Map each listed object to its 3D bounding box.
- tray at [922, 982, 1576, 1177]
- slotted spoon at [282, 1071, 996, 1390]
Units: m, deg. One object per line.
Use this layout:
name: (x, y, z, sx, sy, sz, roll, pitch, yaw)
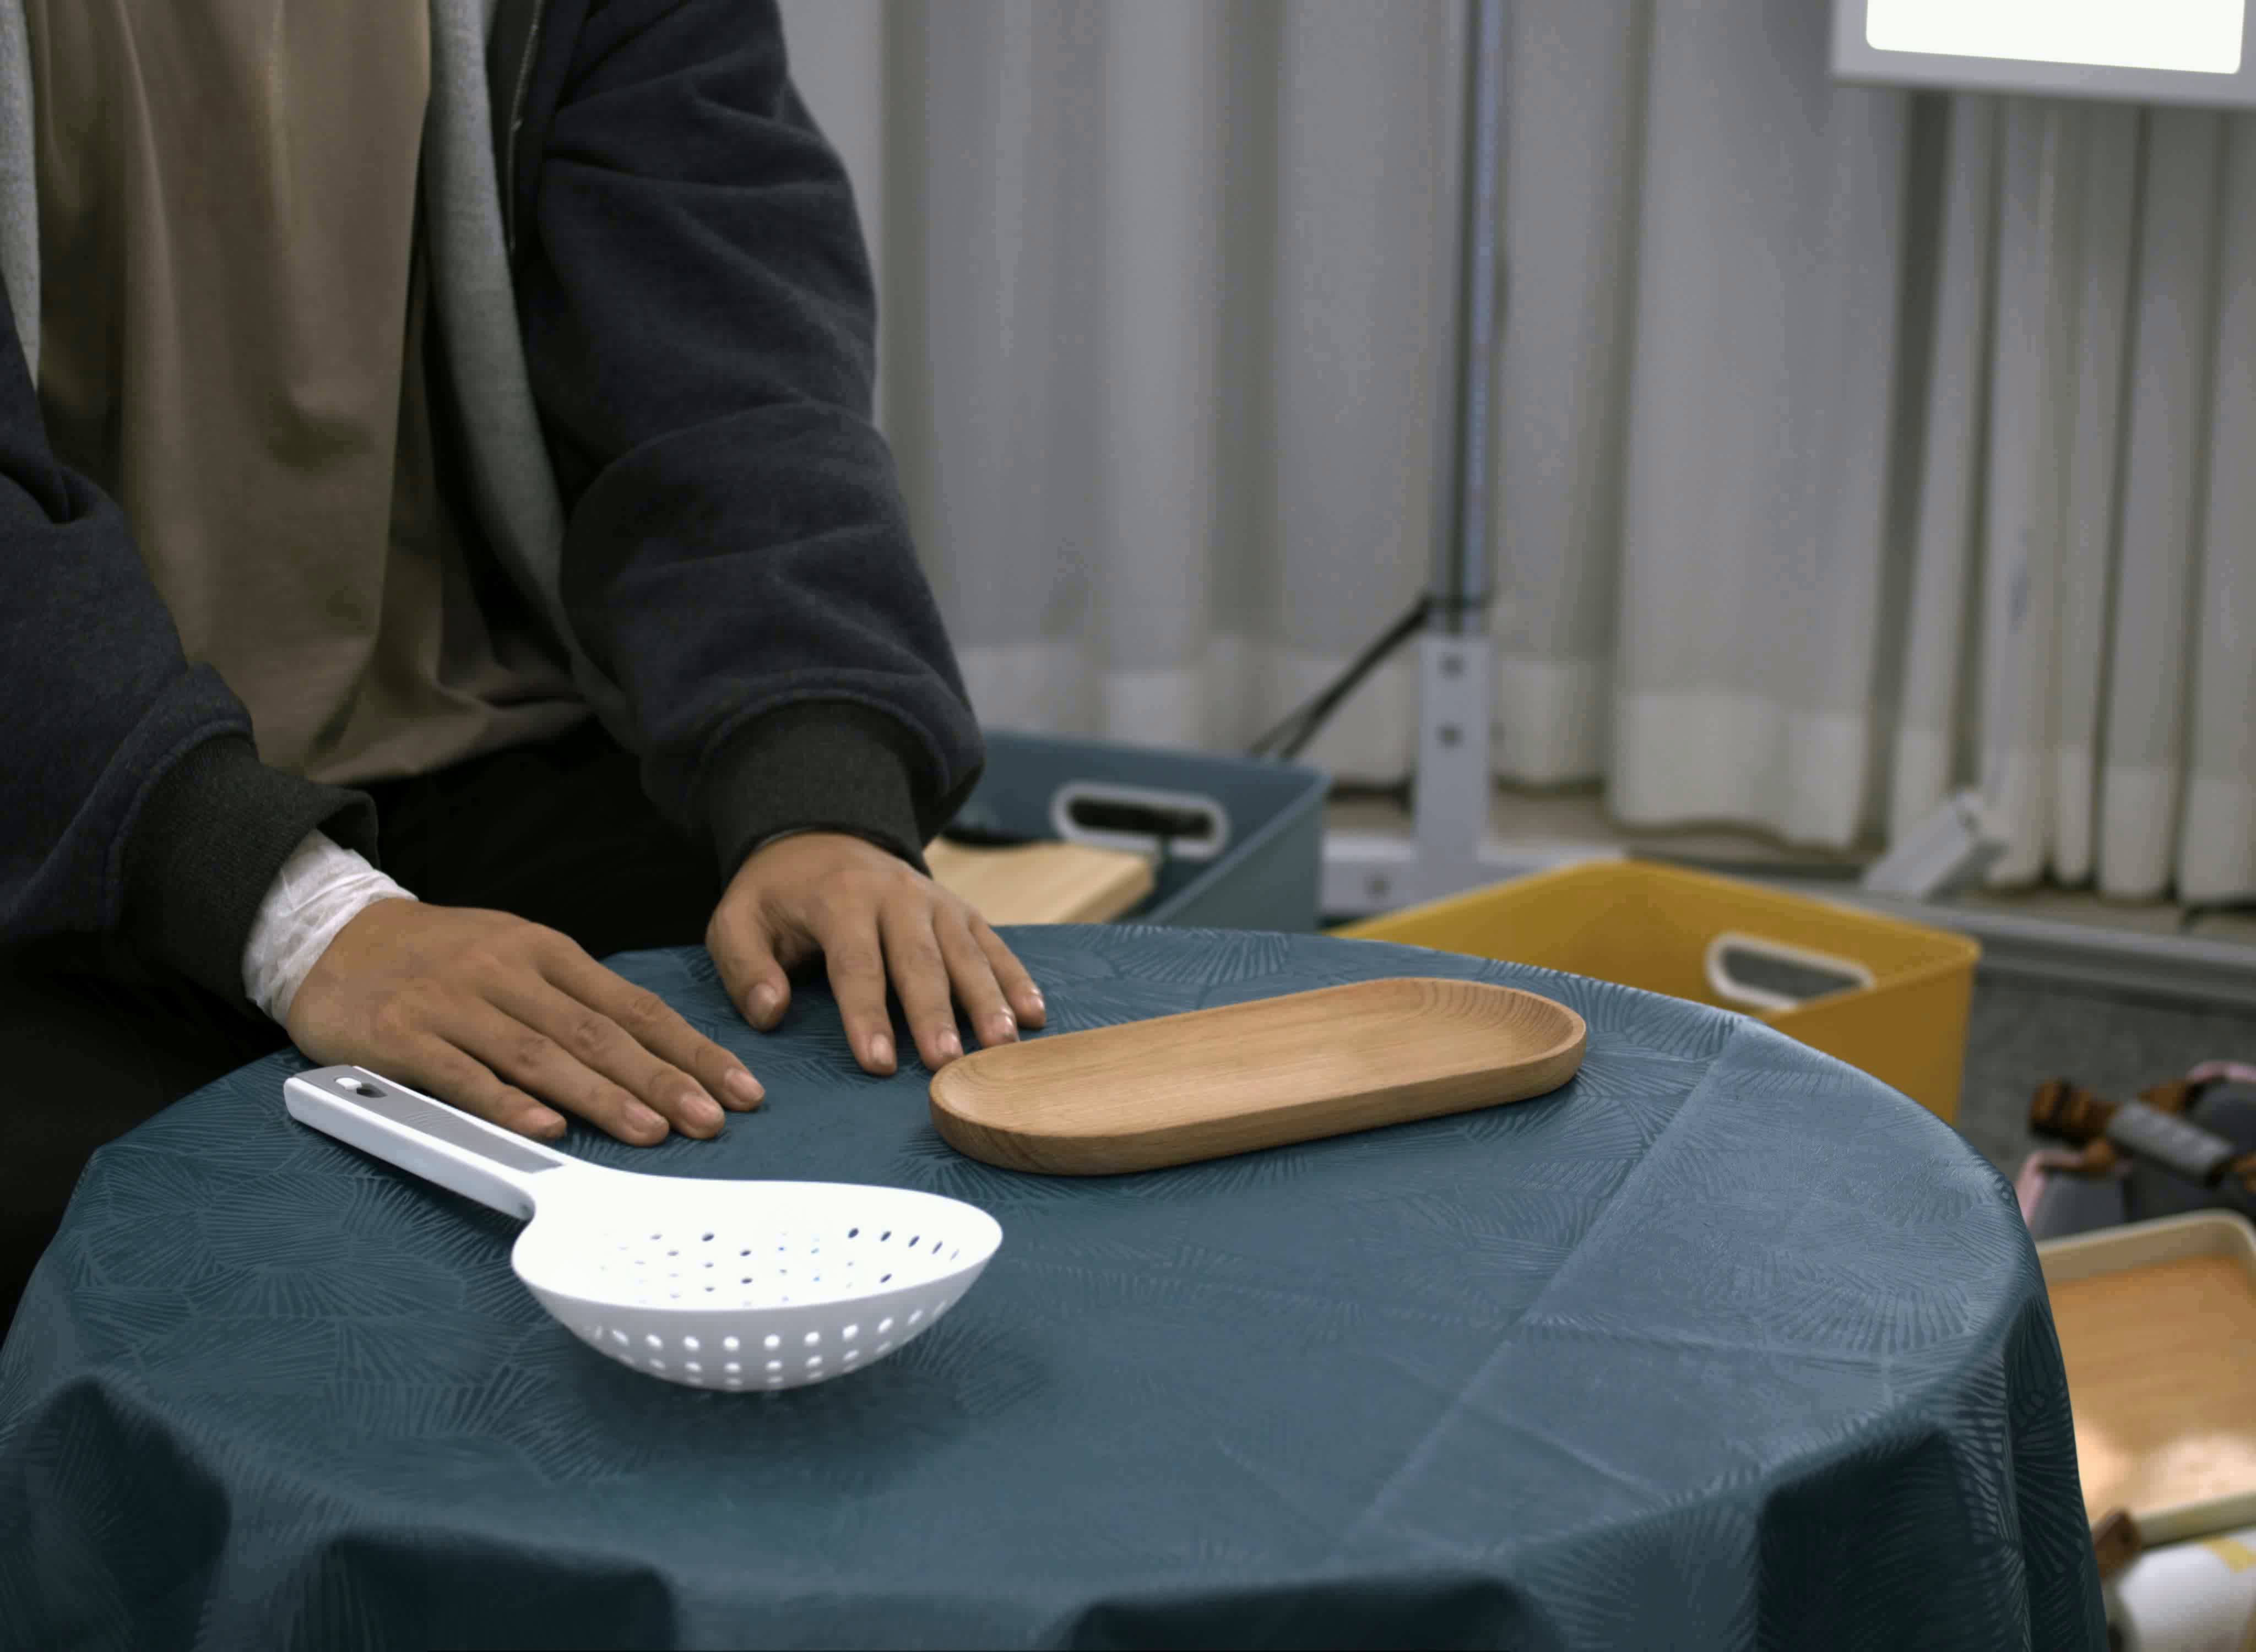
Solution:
tray: (0.041, 0.082, 1.704, 0.232, 0.020, 0.100, -10, 17, -30)
slotted spoon: (-0.164, 0.109, 1.544, 0.137, 0.046, 0.345, -8, 17, -34)
